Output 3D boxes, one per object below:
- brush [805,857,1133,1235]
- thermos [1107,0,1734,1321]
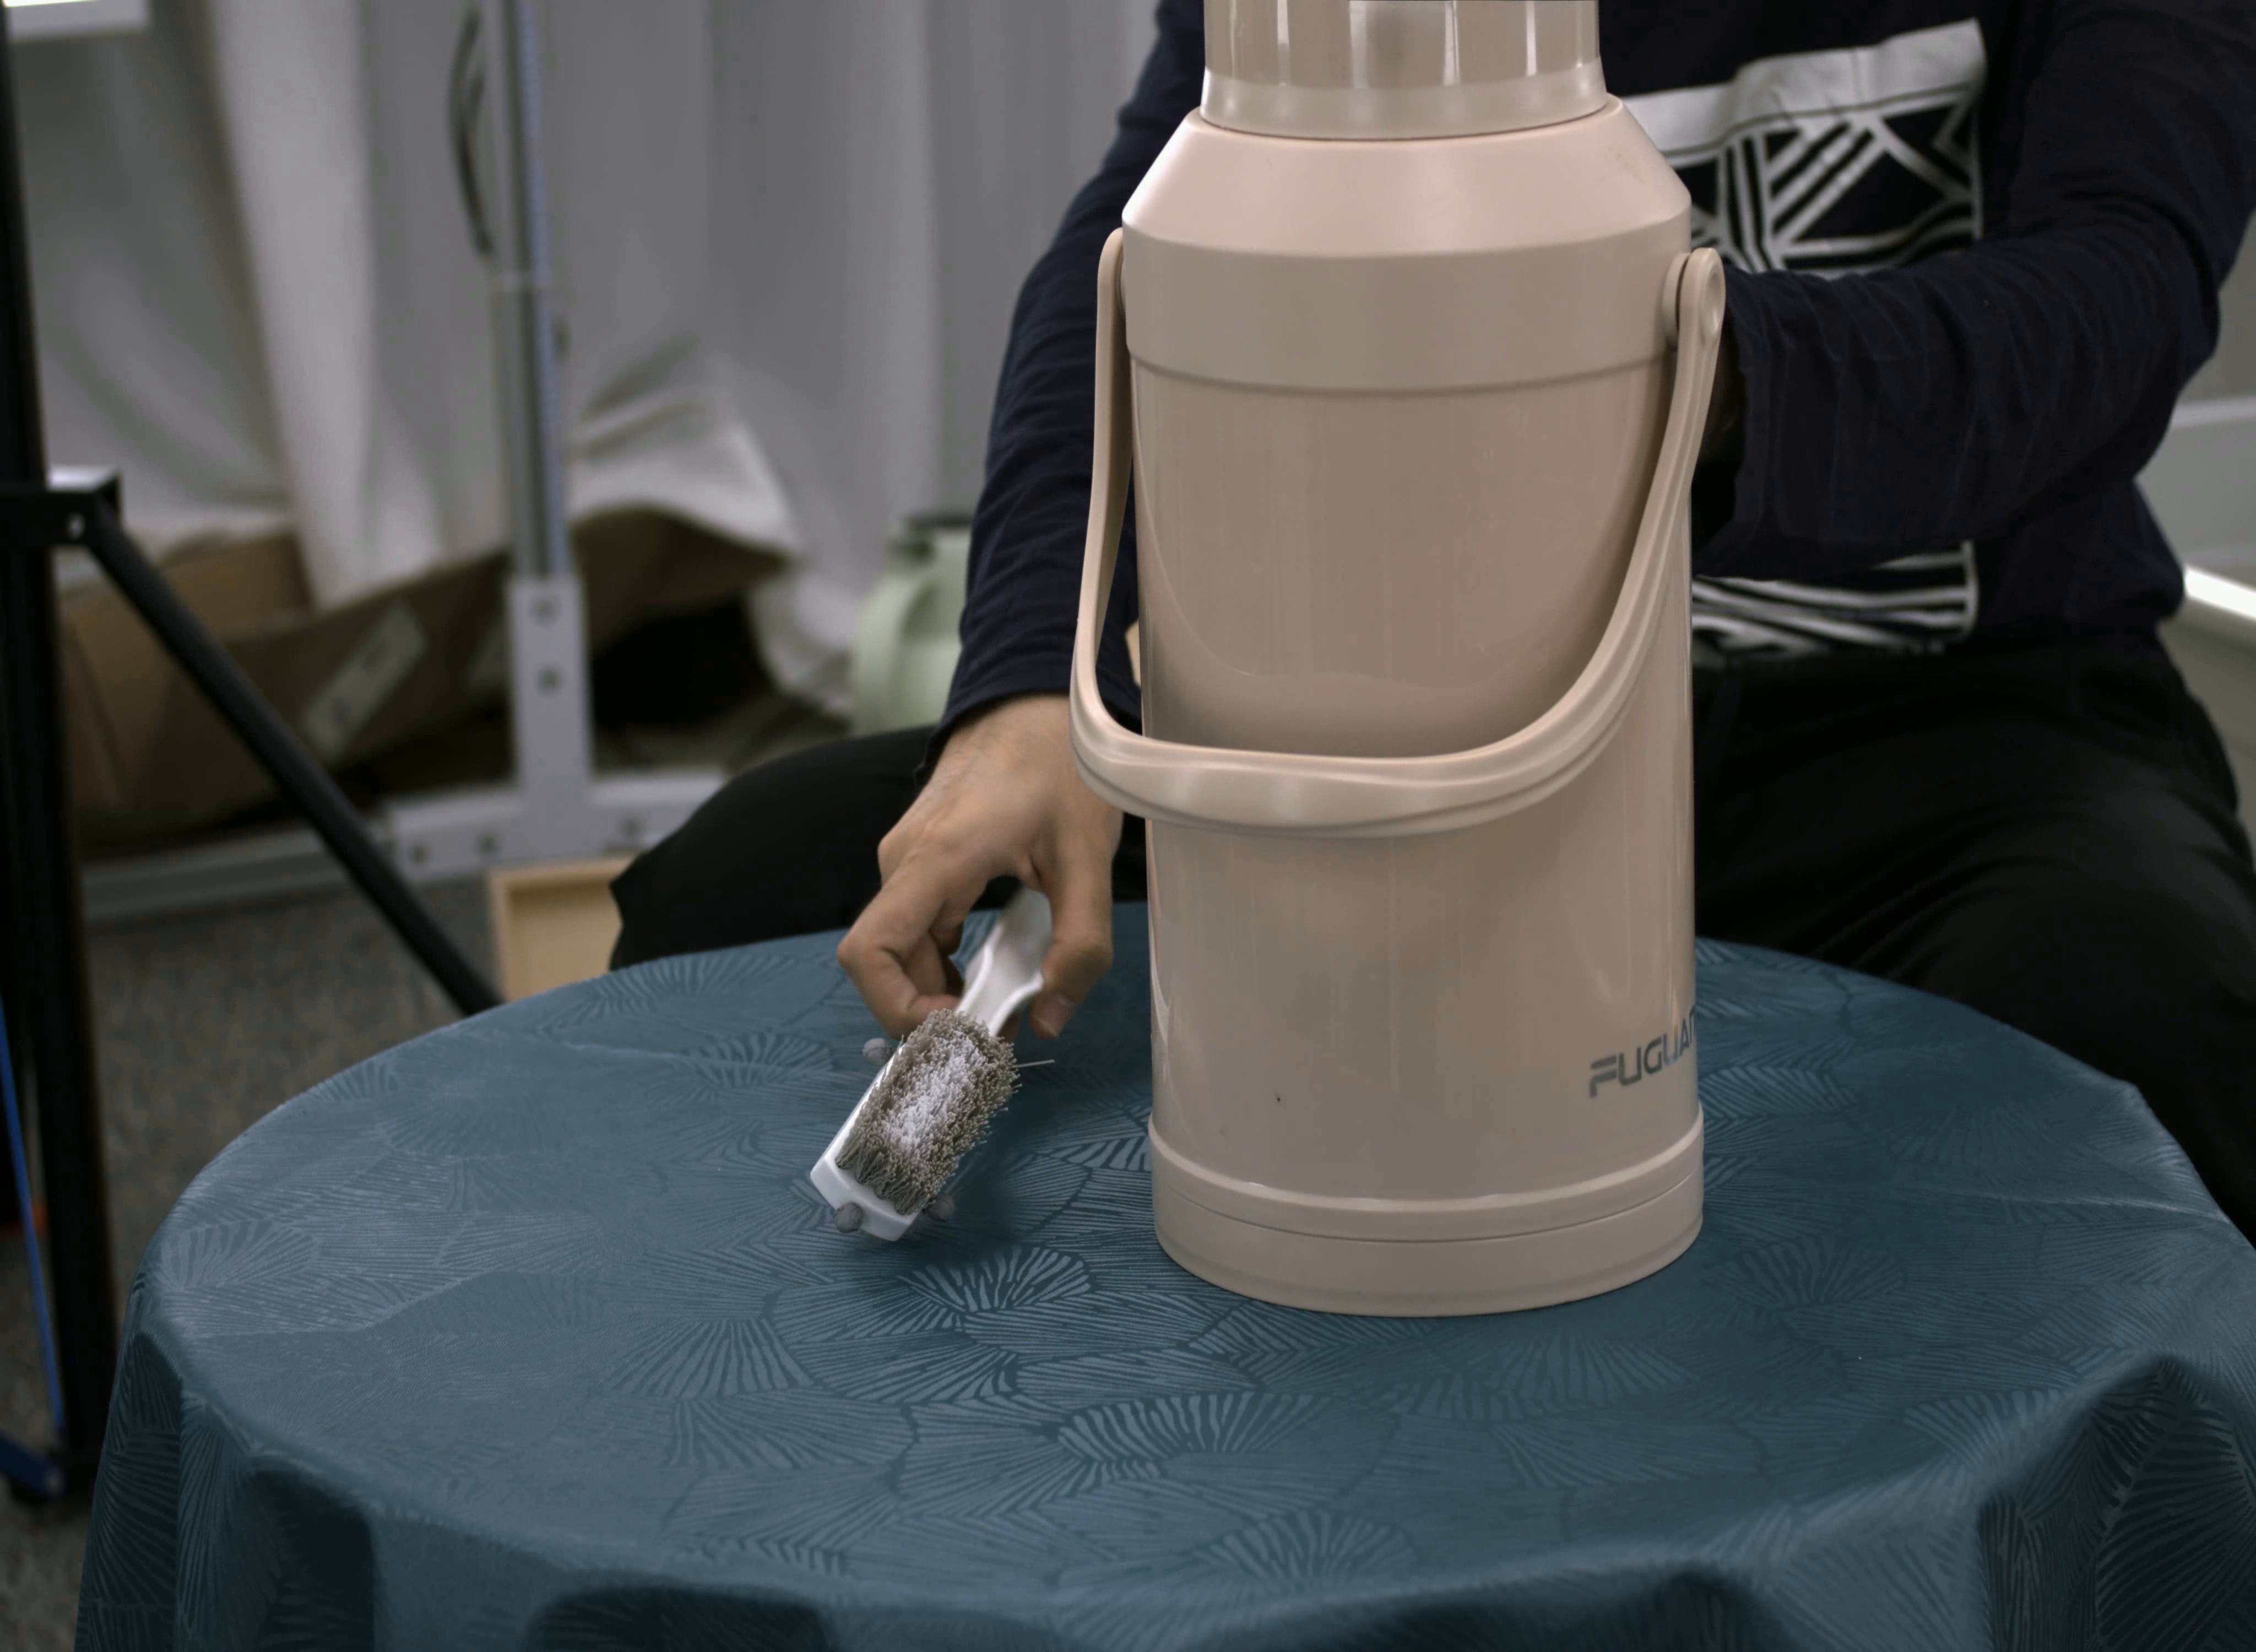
[{"bbox_3d":[-0.037,0.050,1.610,0.034,0.050,0.241,30,31,5],"label":"brush"},{"bbox_3d":[0.088,-0.080,1.486,0.177,0.406,0.204,2,15,22],"label":"thermos"}]
